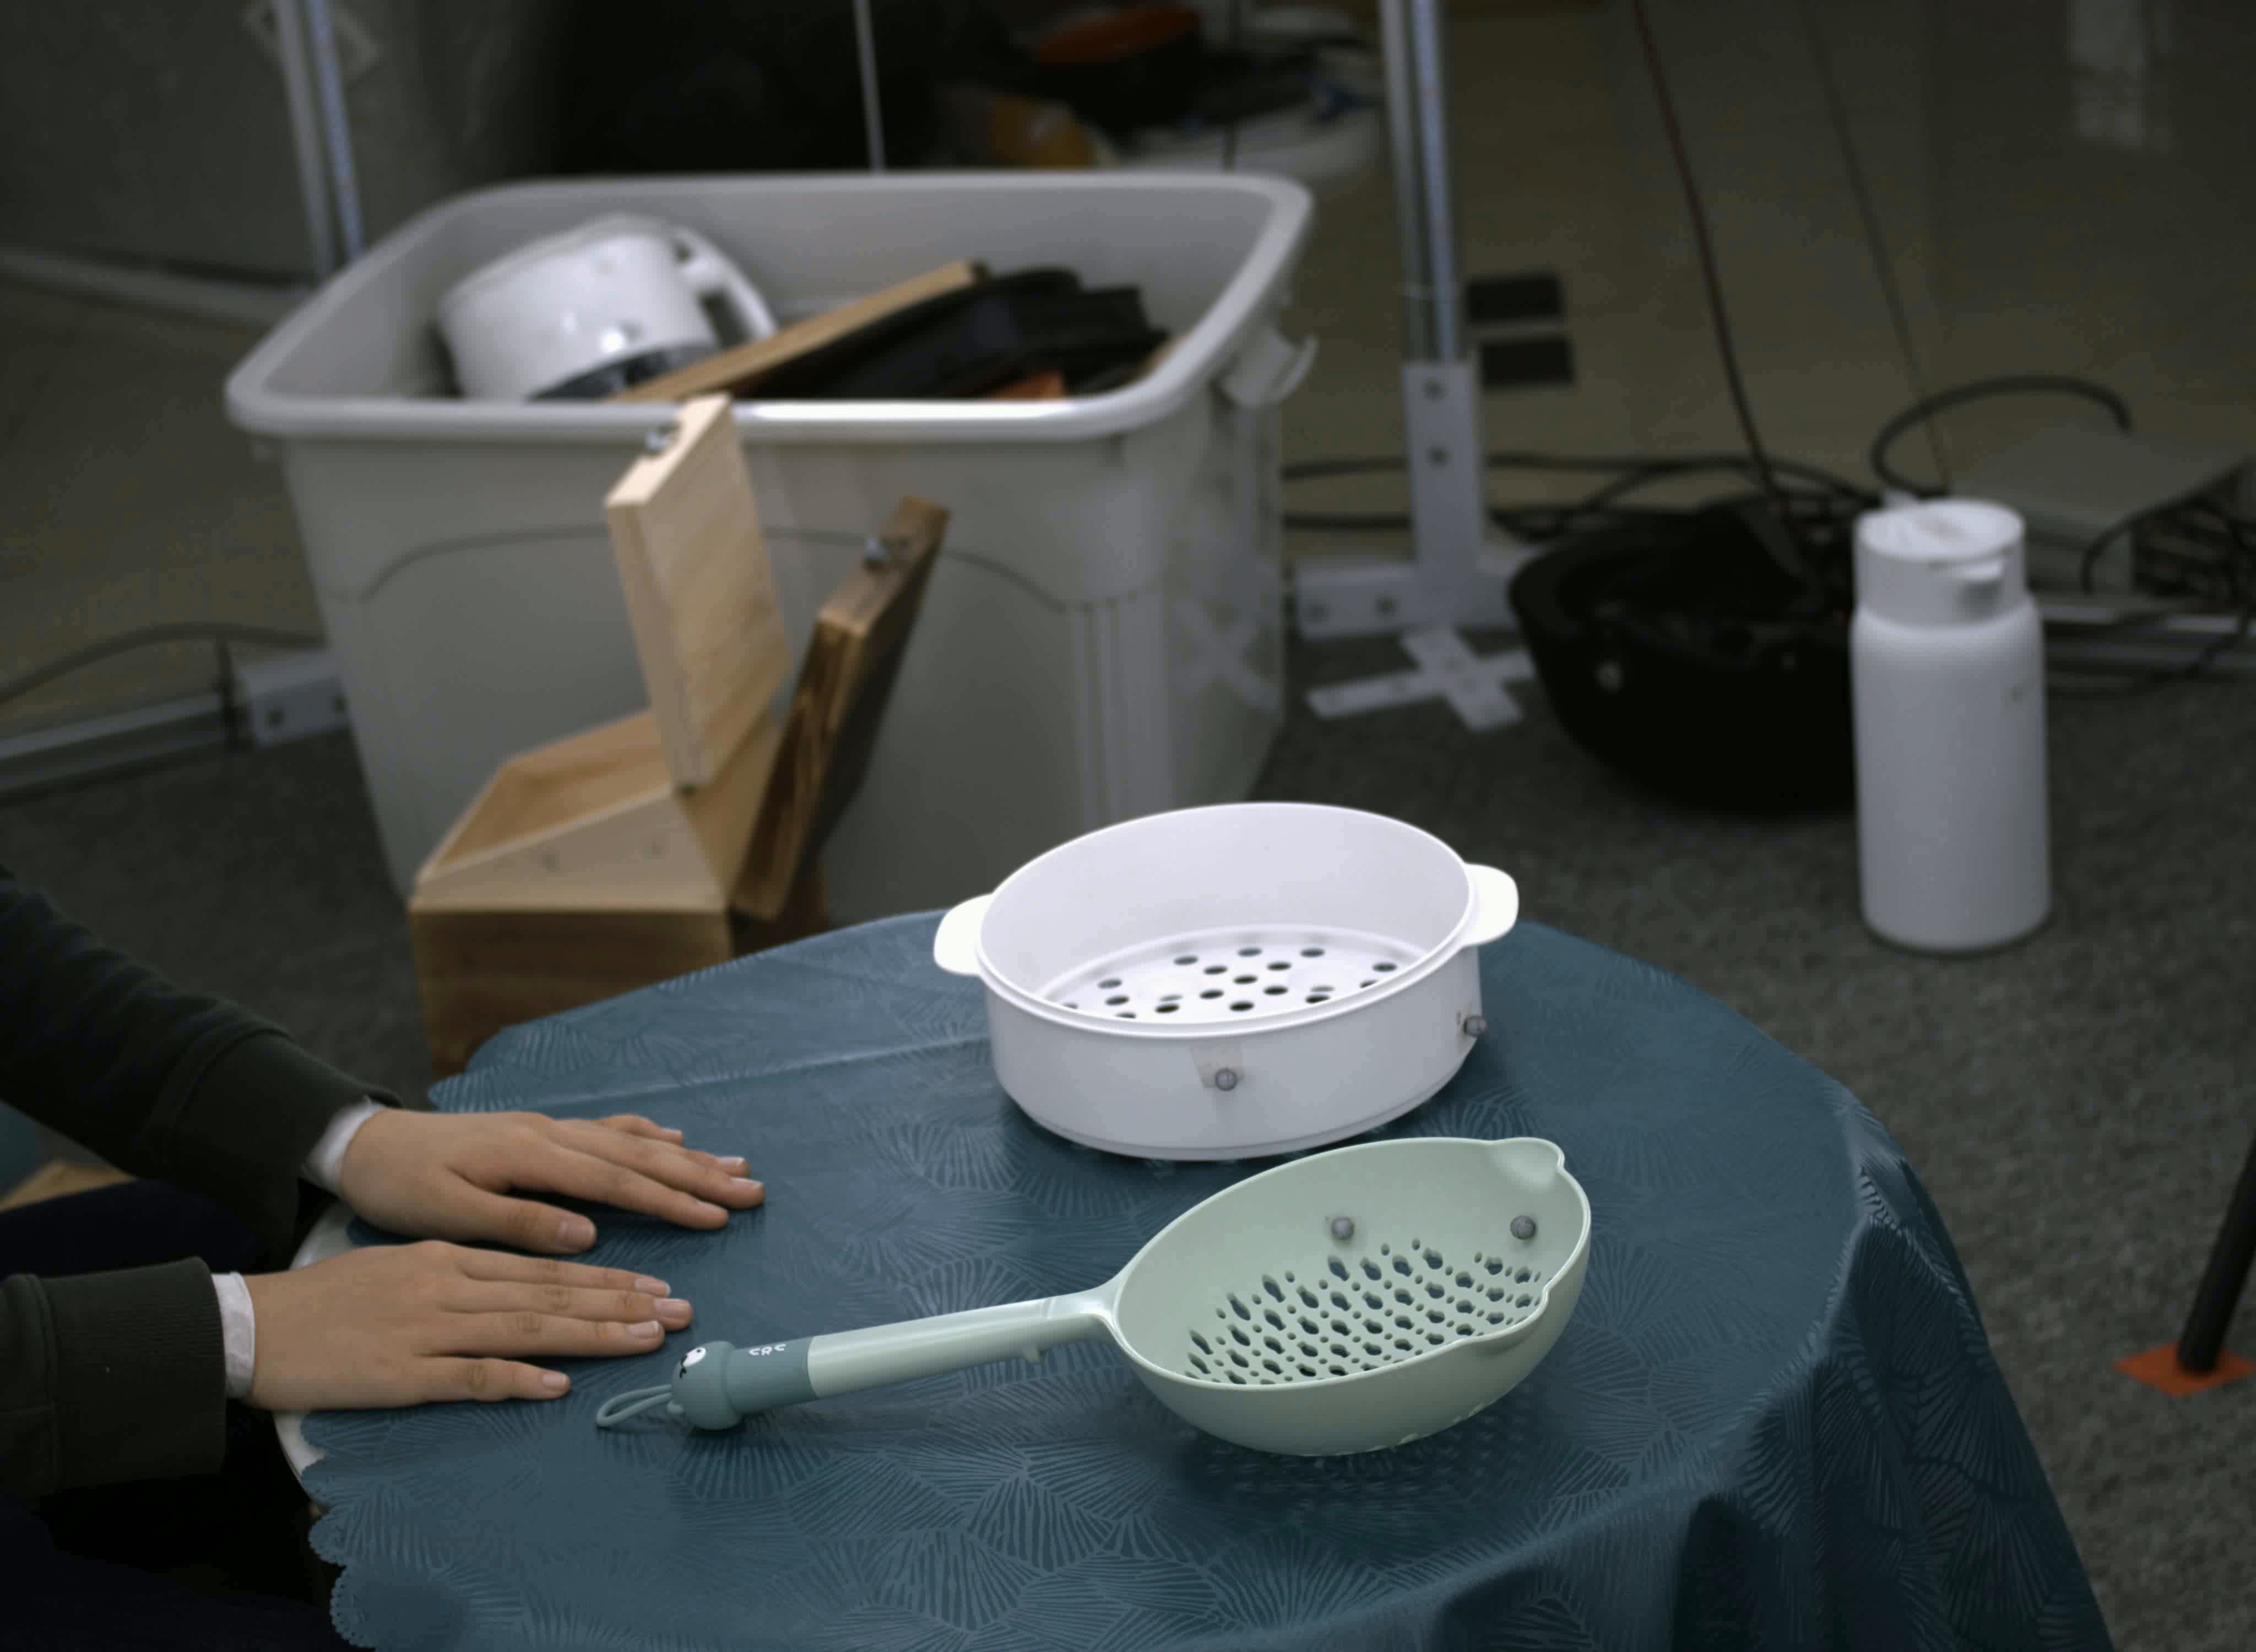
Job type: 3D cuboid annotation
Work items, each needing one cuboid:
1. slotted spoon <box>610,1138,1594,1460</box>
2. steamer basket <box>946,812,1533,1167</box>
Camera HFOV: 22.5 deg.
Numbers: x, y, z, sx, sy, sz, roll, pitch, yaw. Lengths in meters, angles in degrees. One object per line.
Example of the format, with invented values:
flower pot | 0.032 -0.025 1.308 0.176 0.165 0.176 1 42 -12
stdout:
slotted spoon | -0.014 0.178 1.995 0.358 0.076 0.167 -2 25 9
steamer basket | 0.046 0.064 2.226 0.230 0.070 0.199 -4 24 6
